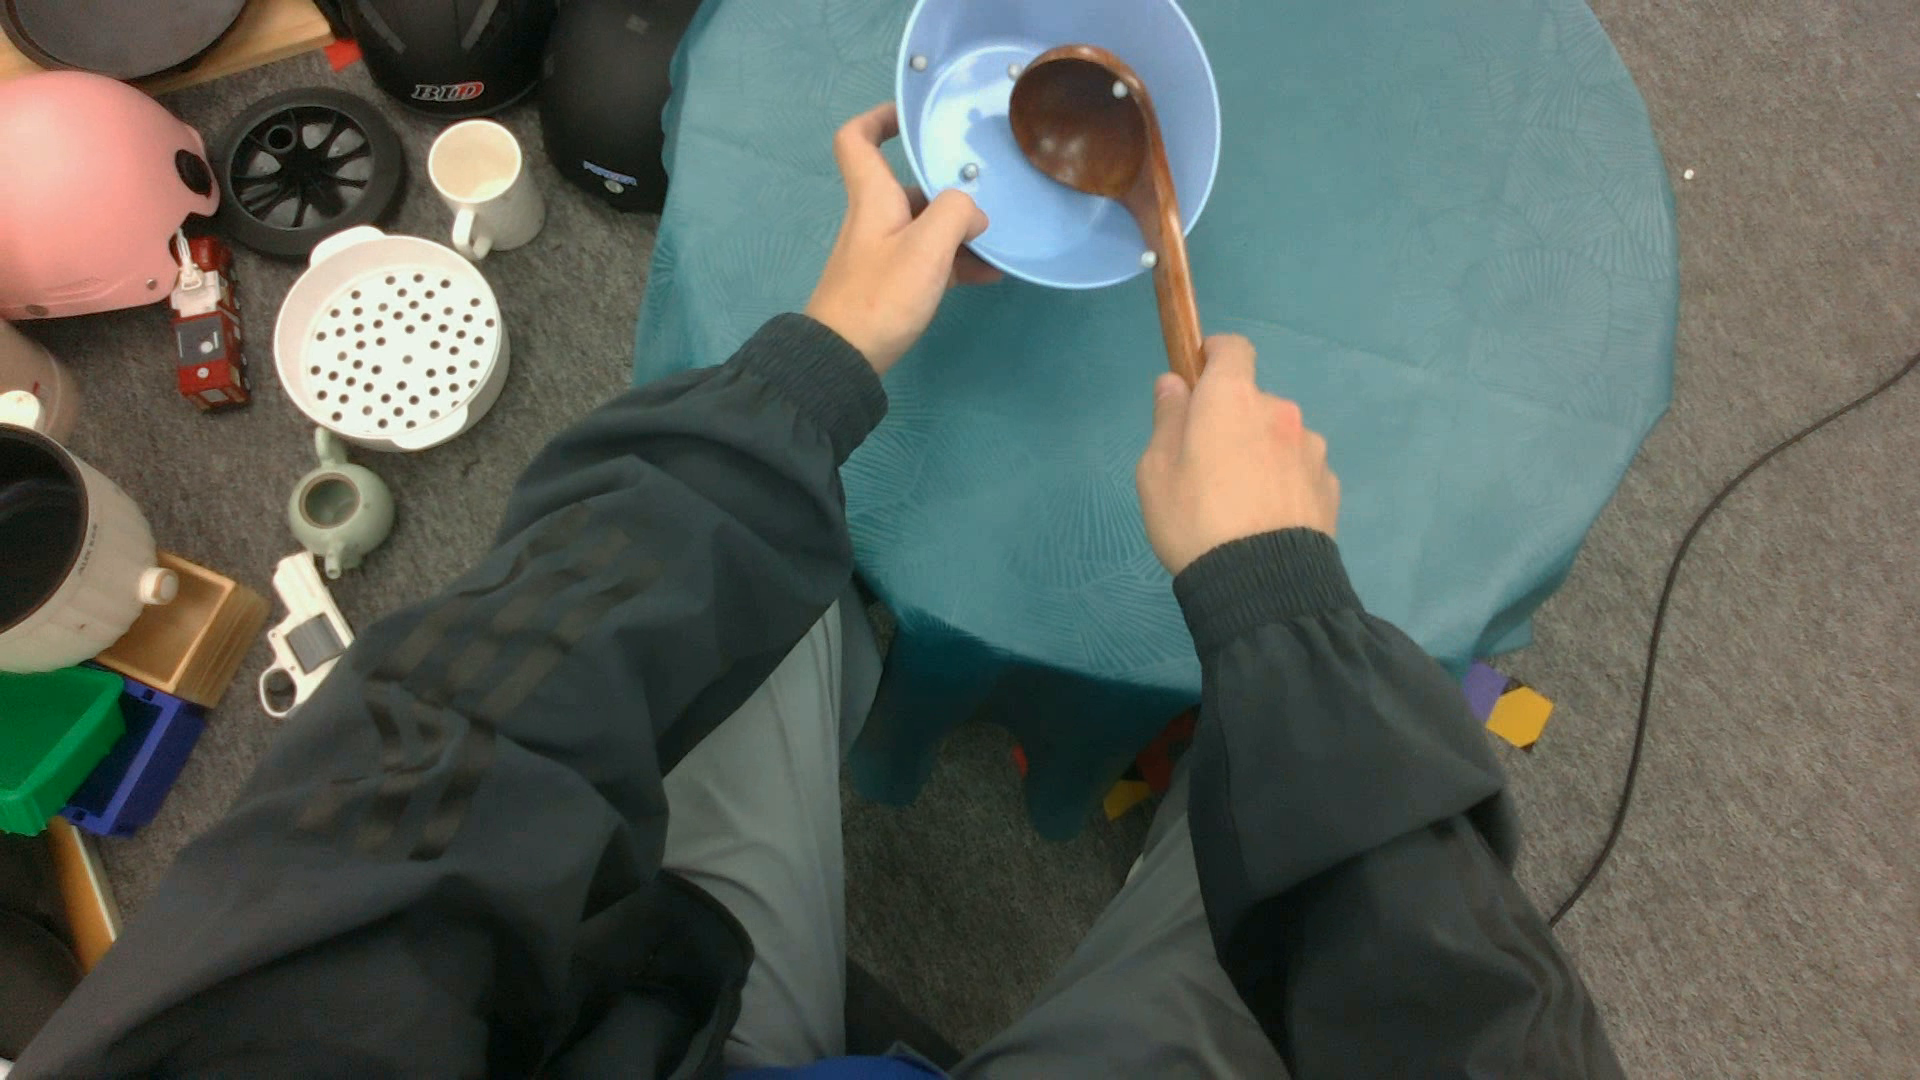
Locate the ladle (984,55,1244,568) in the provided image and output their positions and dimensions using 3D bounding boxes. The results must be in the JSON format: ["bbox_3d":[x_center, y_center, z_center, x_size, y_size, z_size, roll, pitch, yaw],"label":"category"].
[{"bbox_3d":[0.072,-0.115,0.673,0.077,0.081,0.275,-3,68,-21],"label":"ladle"}]

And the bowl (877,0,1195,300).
[{"bbox_3d":[0.032,-0.208,0.728,0.176,0.070,0.176,1,87,-21],"label":"bowl"}]
